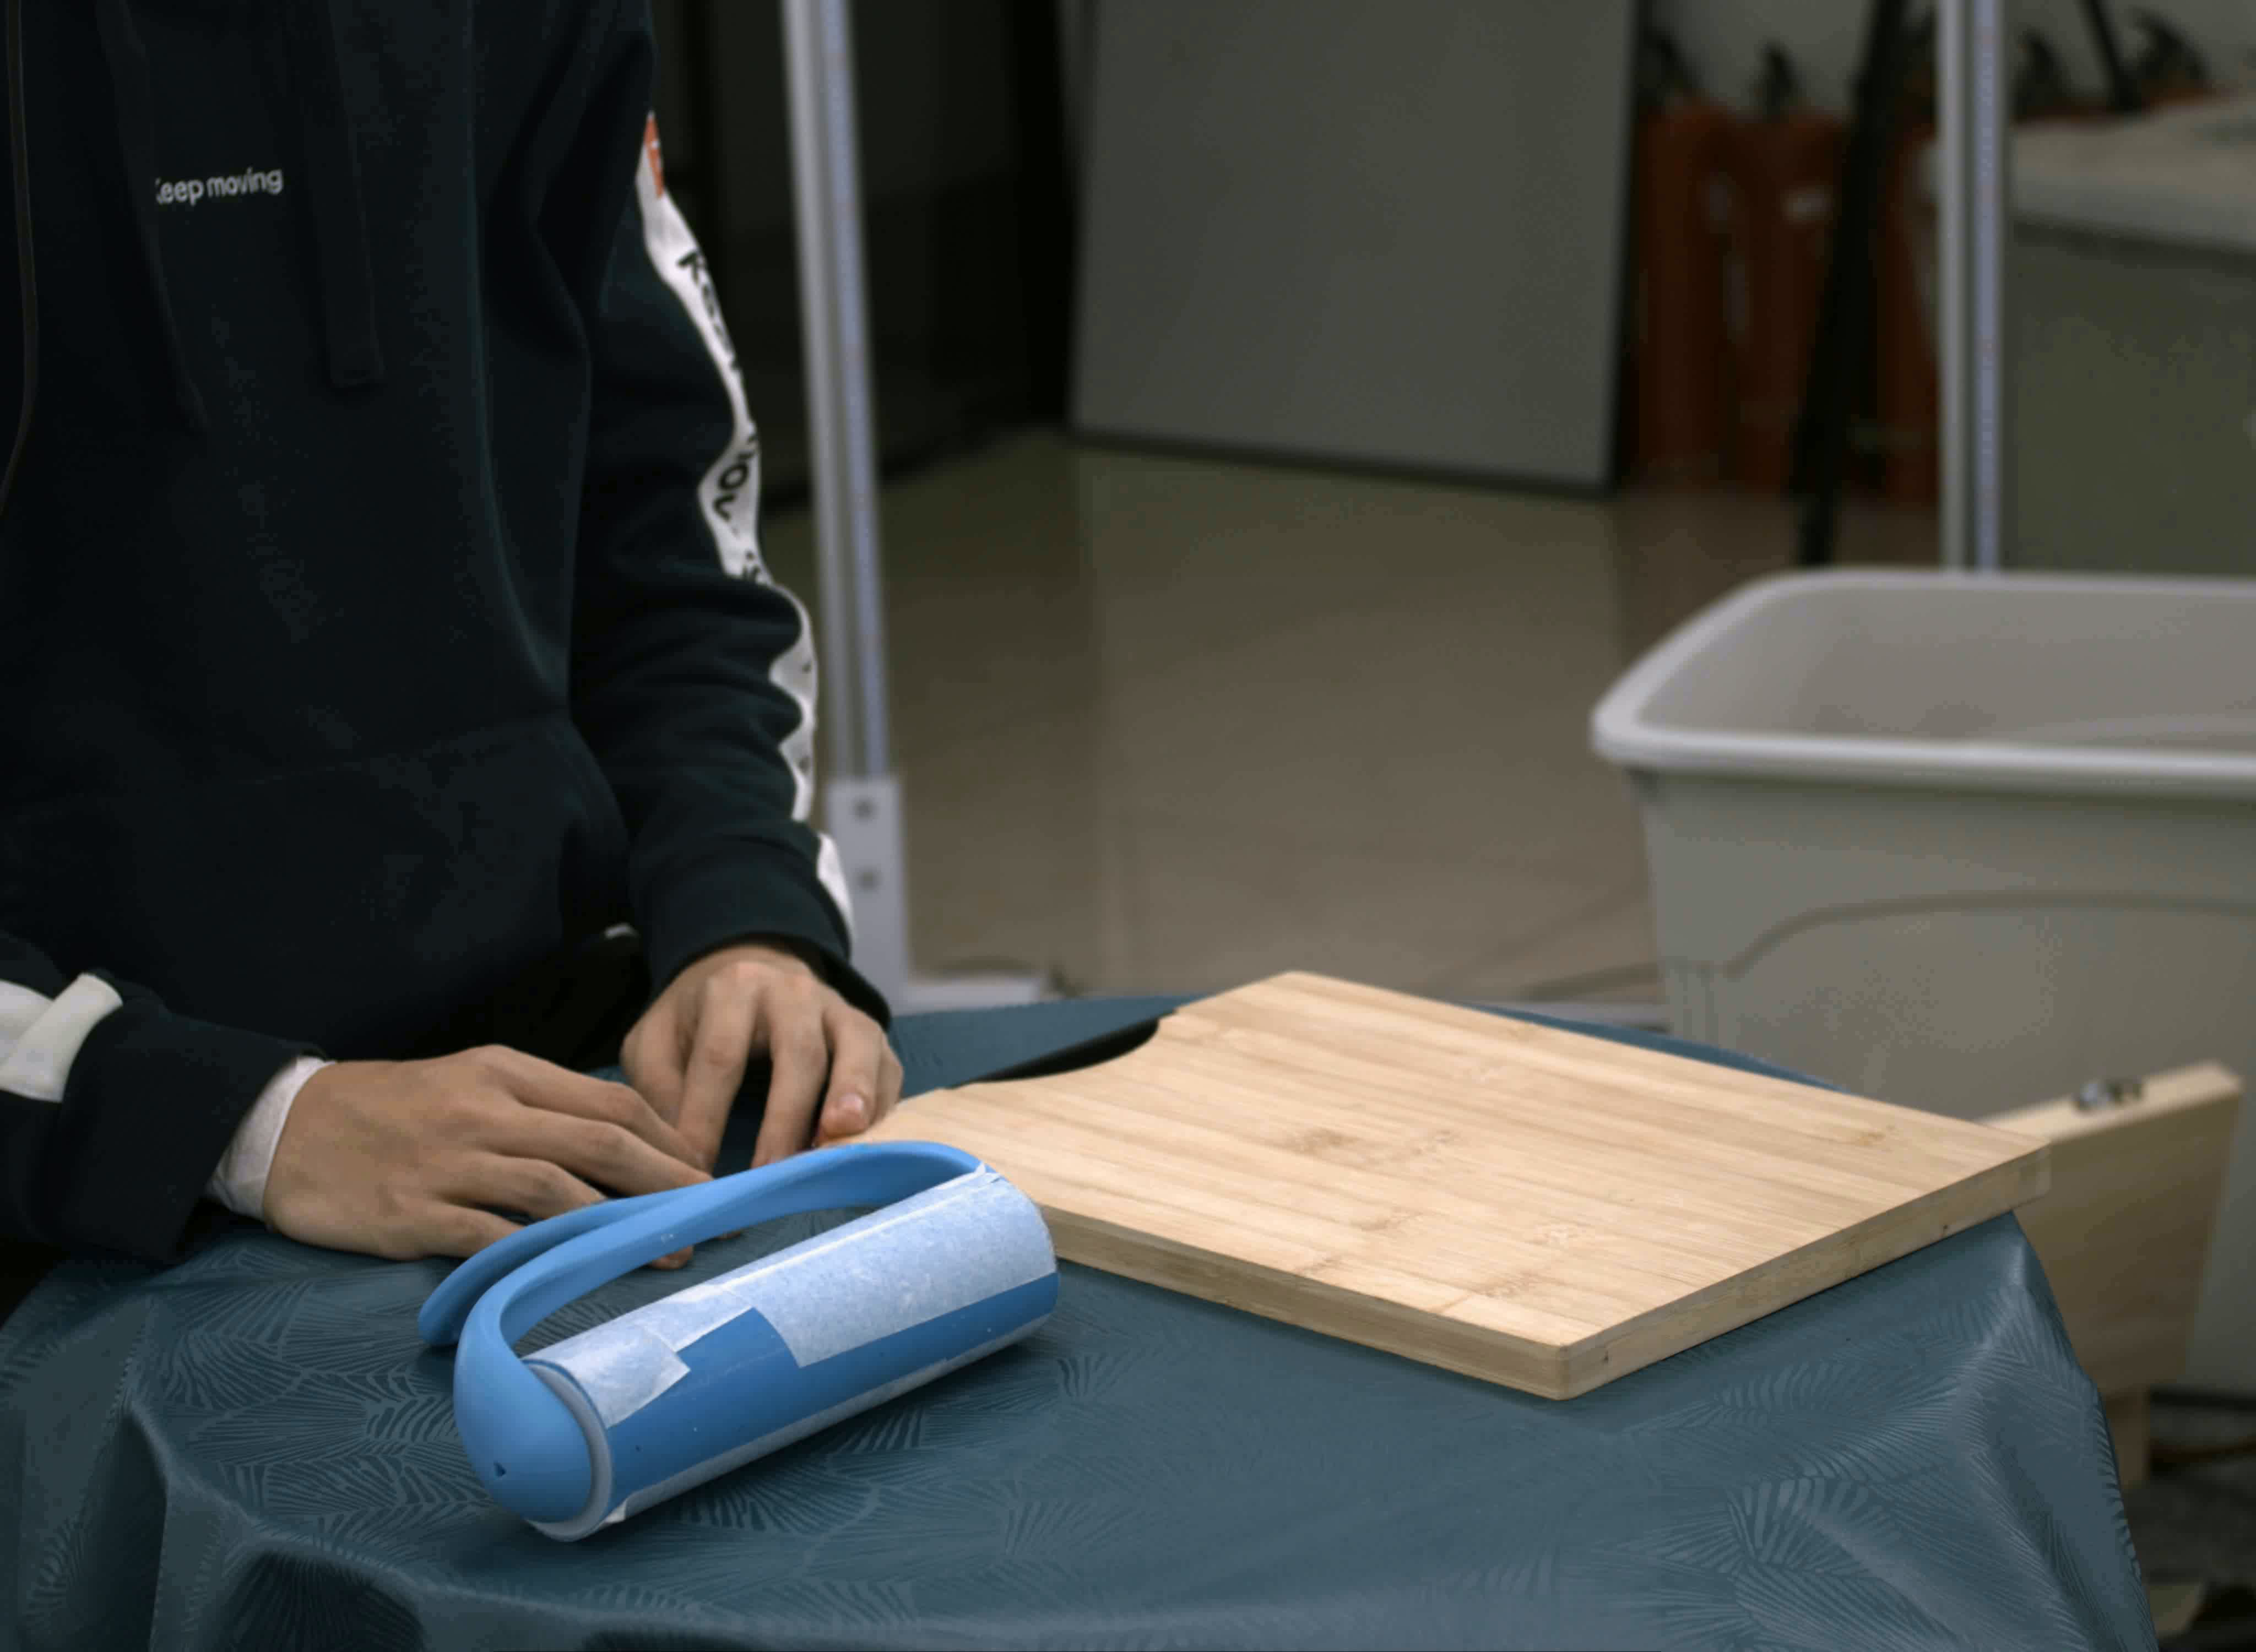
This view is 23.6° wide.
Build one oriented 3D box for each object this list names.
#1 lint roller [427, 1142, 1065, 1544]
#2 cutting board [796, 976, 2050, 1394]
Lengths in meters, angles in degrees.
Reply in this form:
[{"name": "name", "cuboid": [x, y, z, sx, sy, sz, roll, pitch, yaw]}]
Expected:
[{"name": "lint roller", "cuboid": [-0.145, 0.144, 1.601, 0.181, 0.068, 0.225, 7, 19, 38]}, {"name": "cutting board", "cuboid": [0.091, 0.111, 1.754, 0.245, 0.024, 0.352, -17, 18, -42]}]
